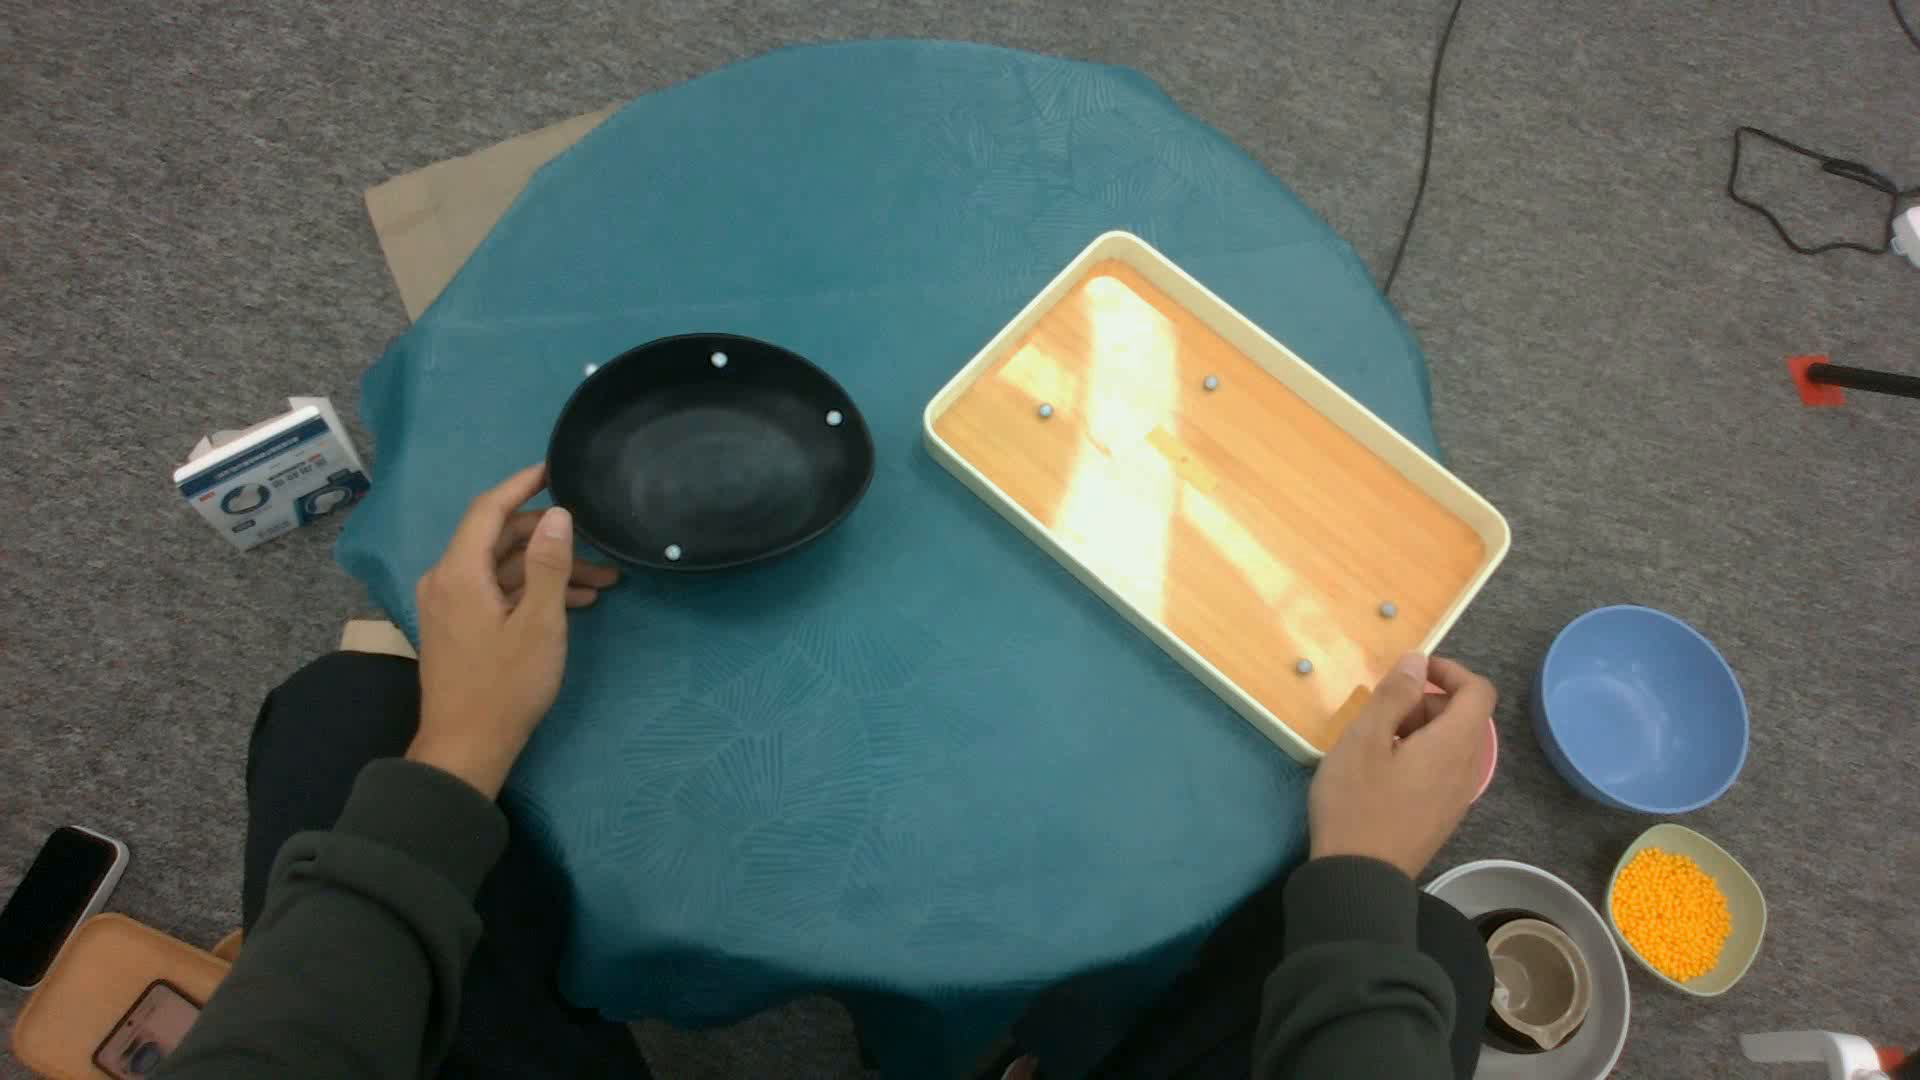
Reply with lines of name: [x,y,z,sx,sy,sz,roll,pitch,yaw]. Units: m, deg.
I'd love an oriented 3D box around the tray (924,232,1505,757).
tray: [0.146,-0.035,0.800,0.300,0.027,0.192,39,70,11]

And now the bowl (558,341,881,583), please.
bowl: [-0.130,-0.036,0.756,0.170,0.066,0.137,-7,70,-10]
